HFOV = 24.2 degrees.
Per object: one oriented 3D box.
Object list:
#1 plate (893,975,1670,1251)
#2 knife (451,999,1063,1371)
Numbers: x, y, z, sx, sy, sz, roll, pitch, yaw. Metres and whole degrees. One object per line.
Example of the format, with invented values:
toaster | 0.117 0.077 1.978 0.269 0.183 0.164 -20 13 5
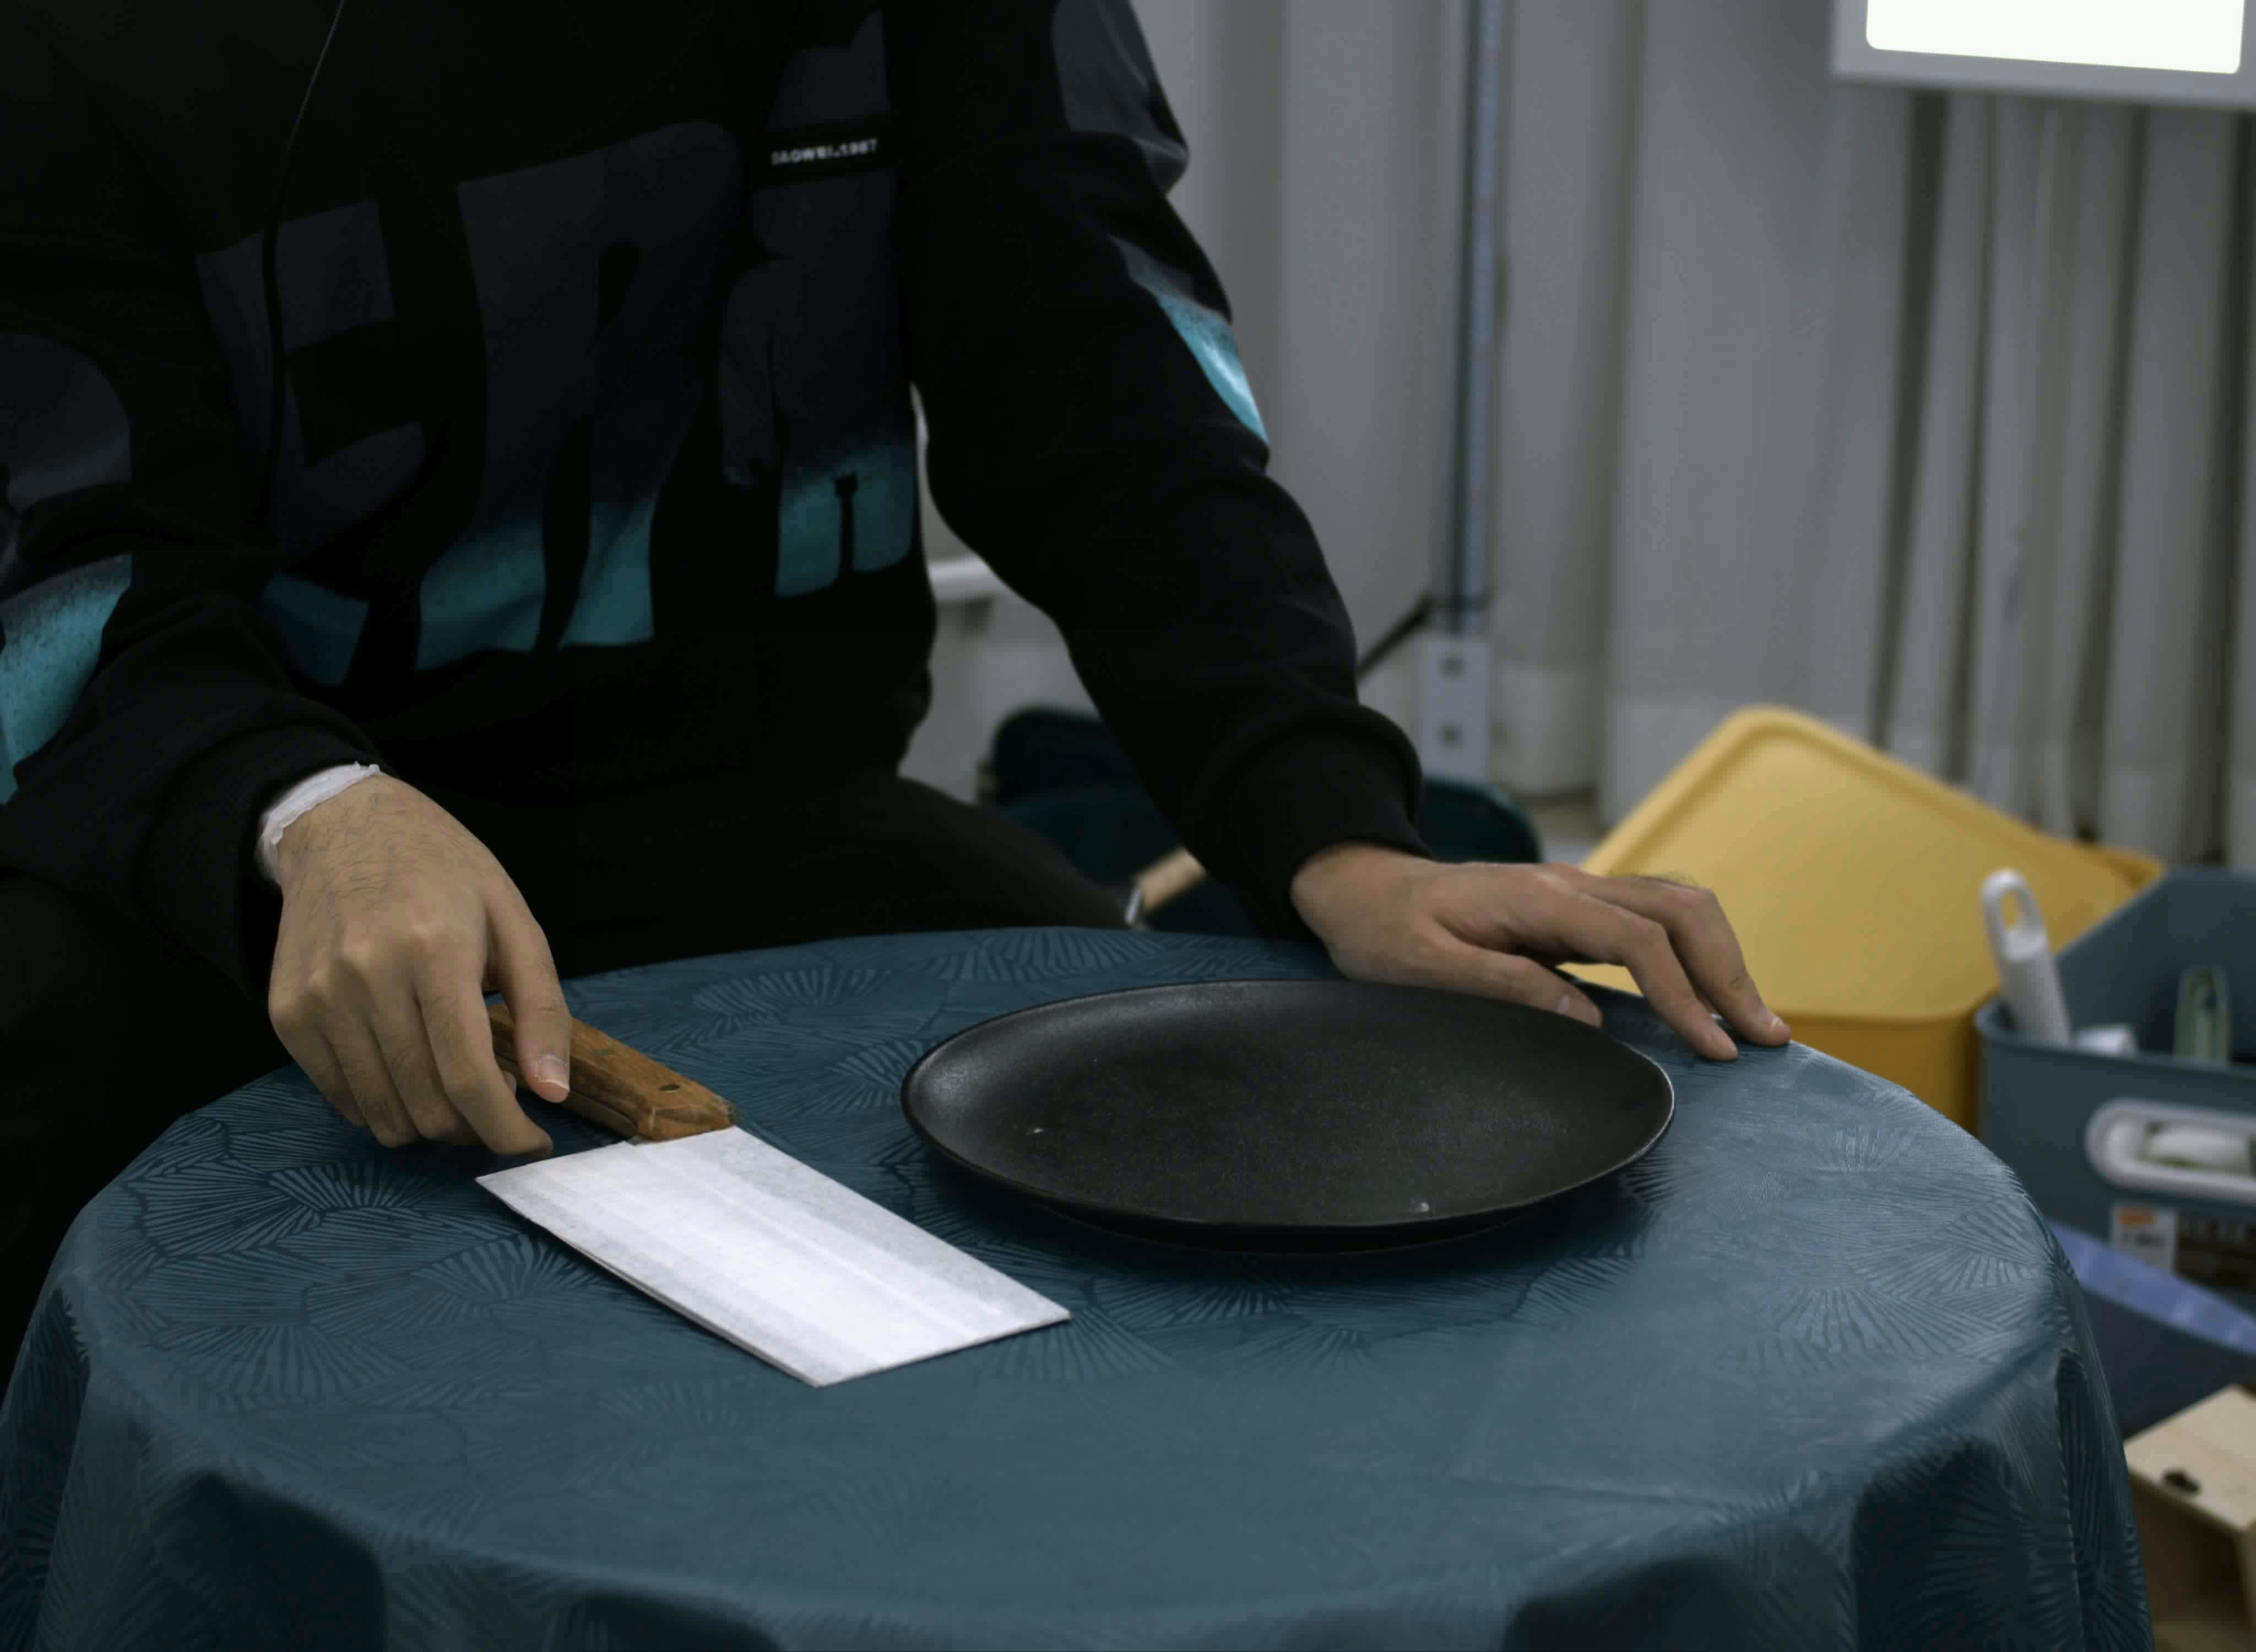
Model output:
plate | 0.048 0.092 1.651 0.243 0.023 0.243 1 16 0
knife | -0.140 0.109 1.602 0.093 0.021 0.301 -13 23 -35
